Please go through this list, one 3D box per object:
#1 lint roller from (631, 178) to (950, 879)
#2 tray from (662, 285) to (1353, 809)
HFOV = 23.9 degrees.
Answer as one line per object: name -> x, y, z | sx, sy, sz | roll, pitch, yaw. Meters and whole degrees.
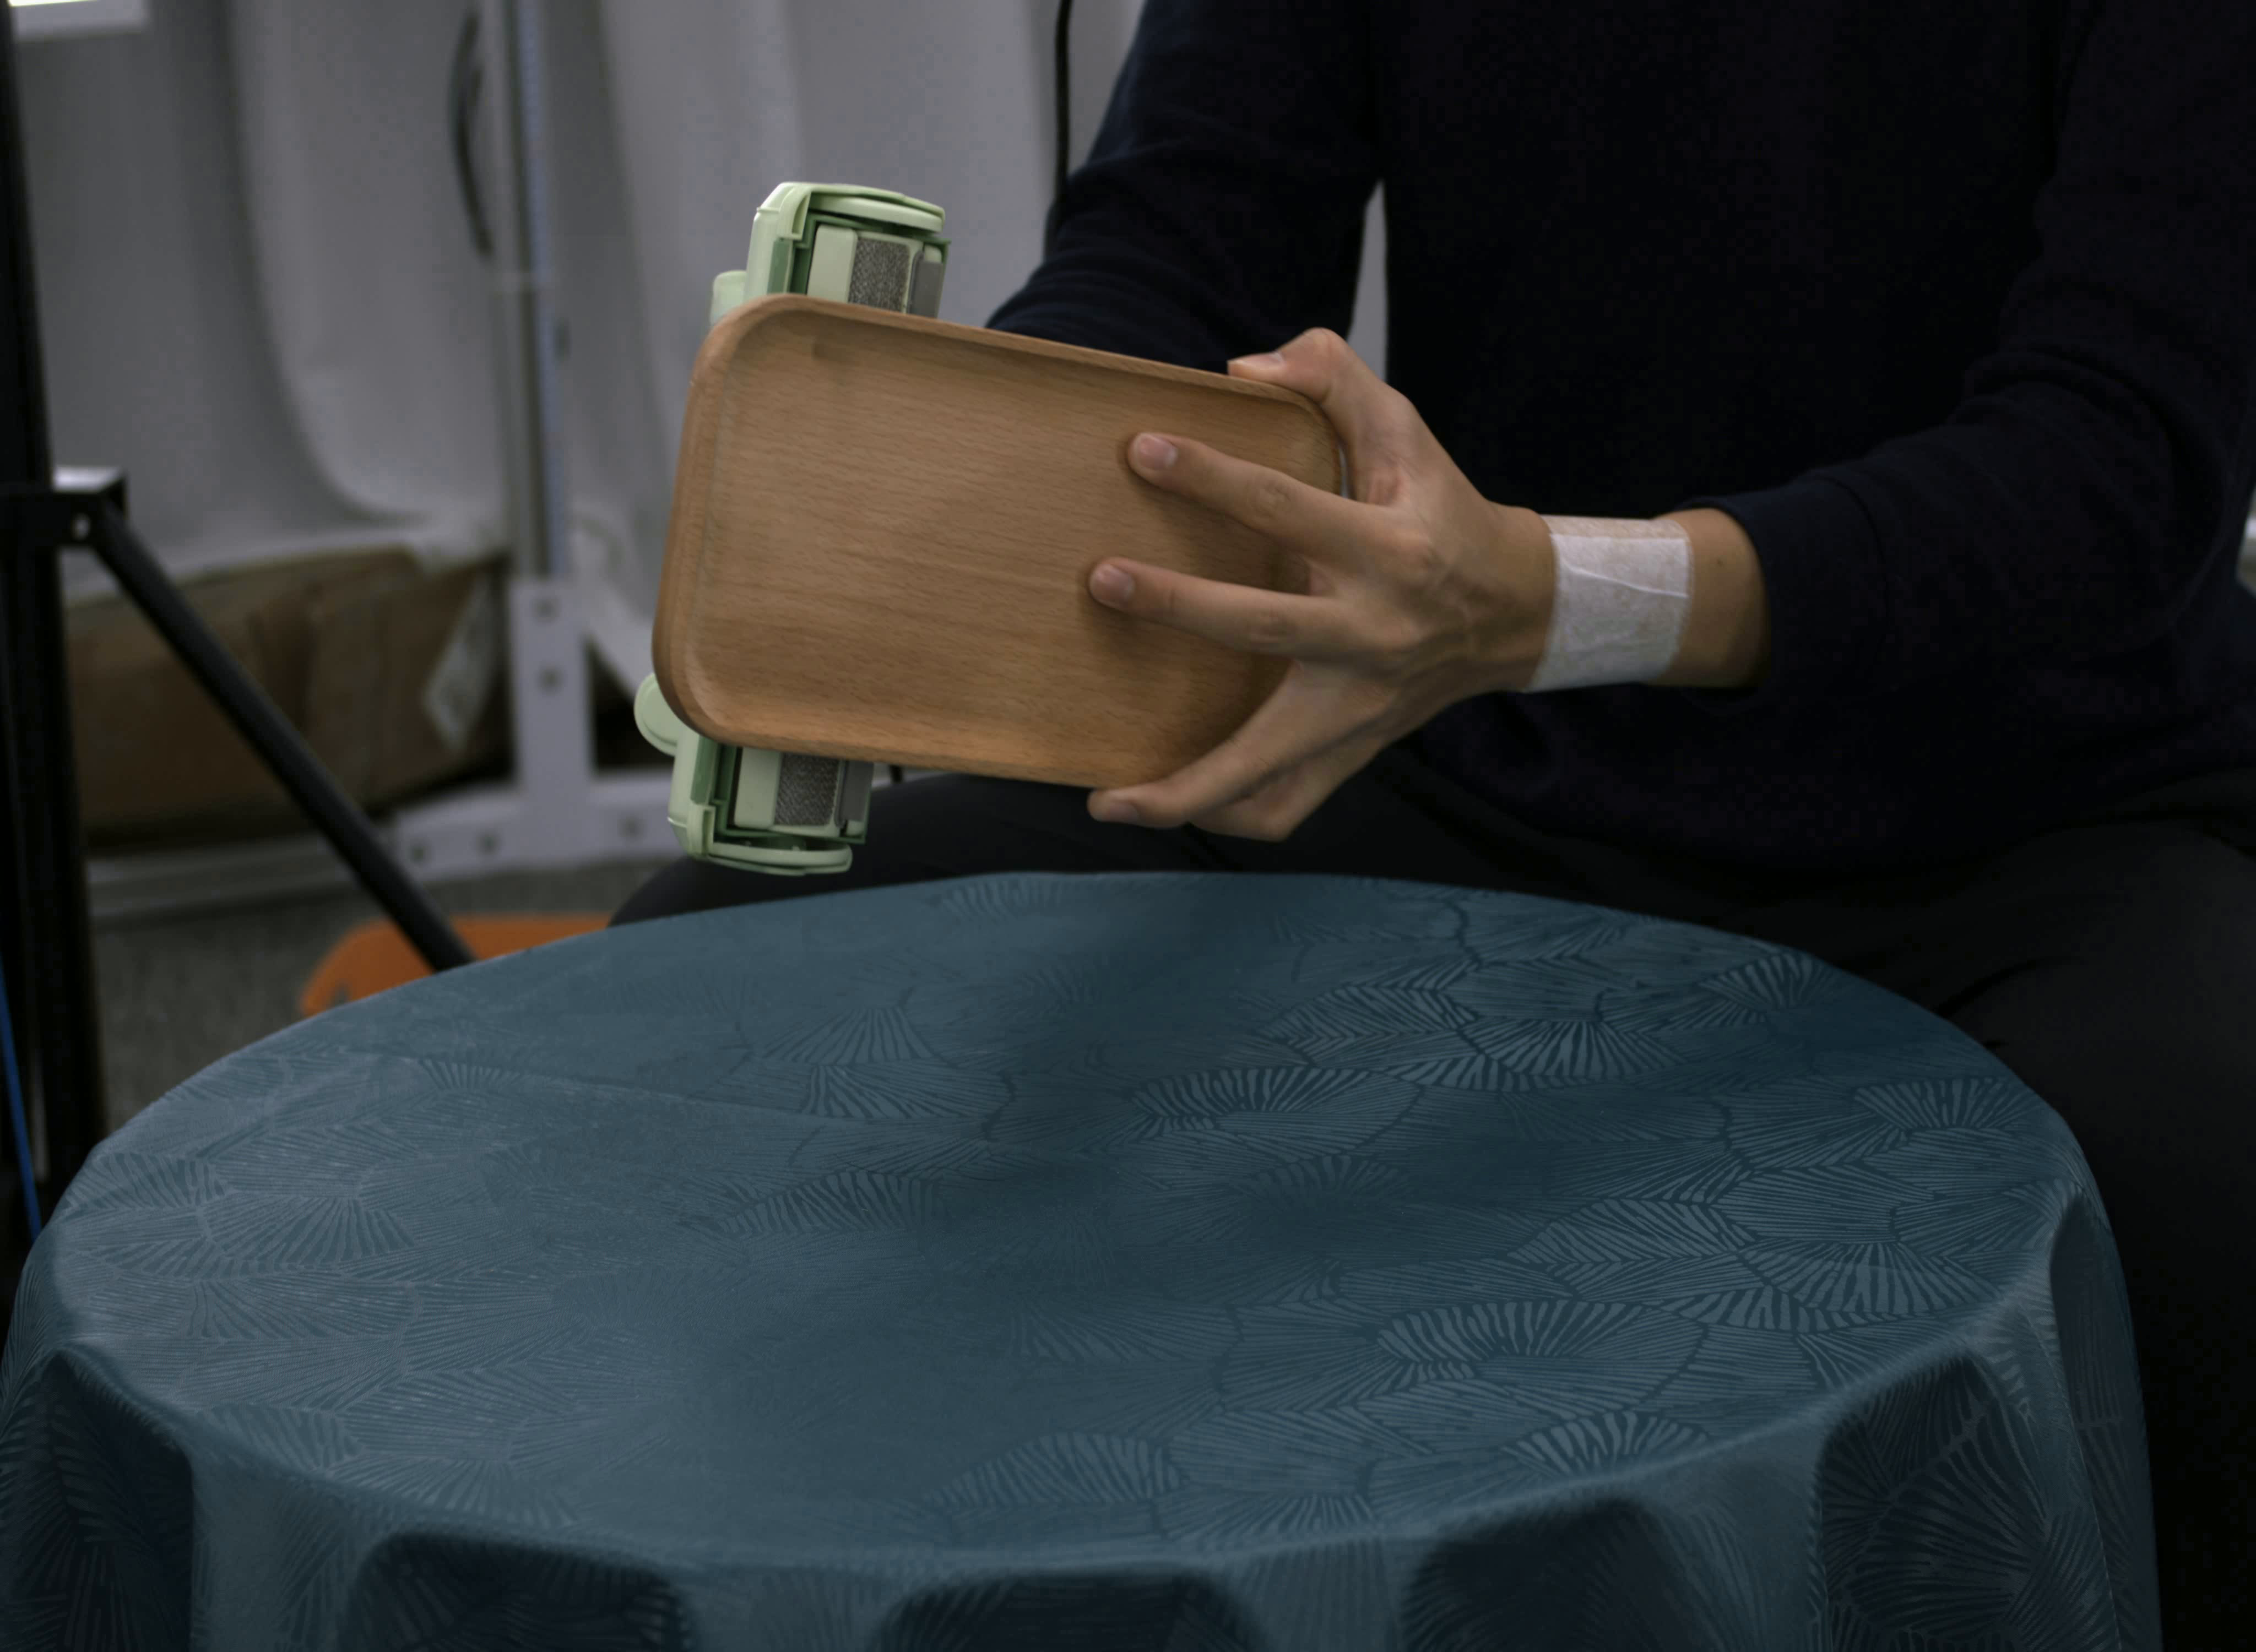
lint roller -> -0.091, -0.088, 1.589 | 0.082, 0.199, 0.182 | 10, 3, 8
tray -> -0.031, -0.078, 1.536 | 0.244, 0.131, 0.023 | 7, 5, -43
